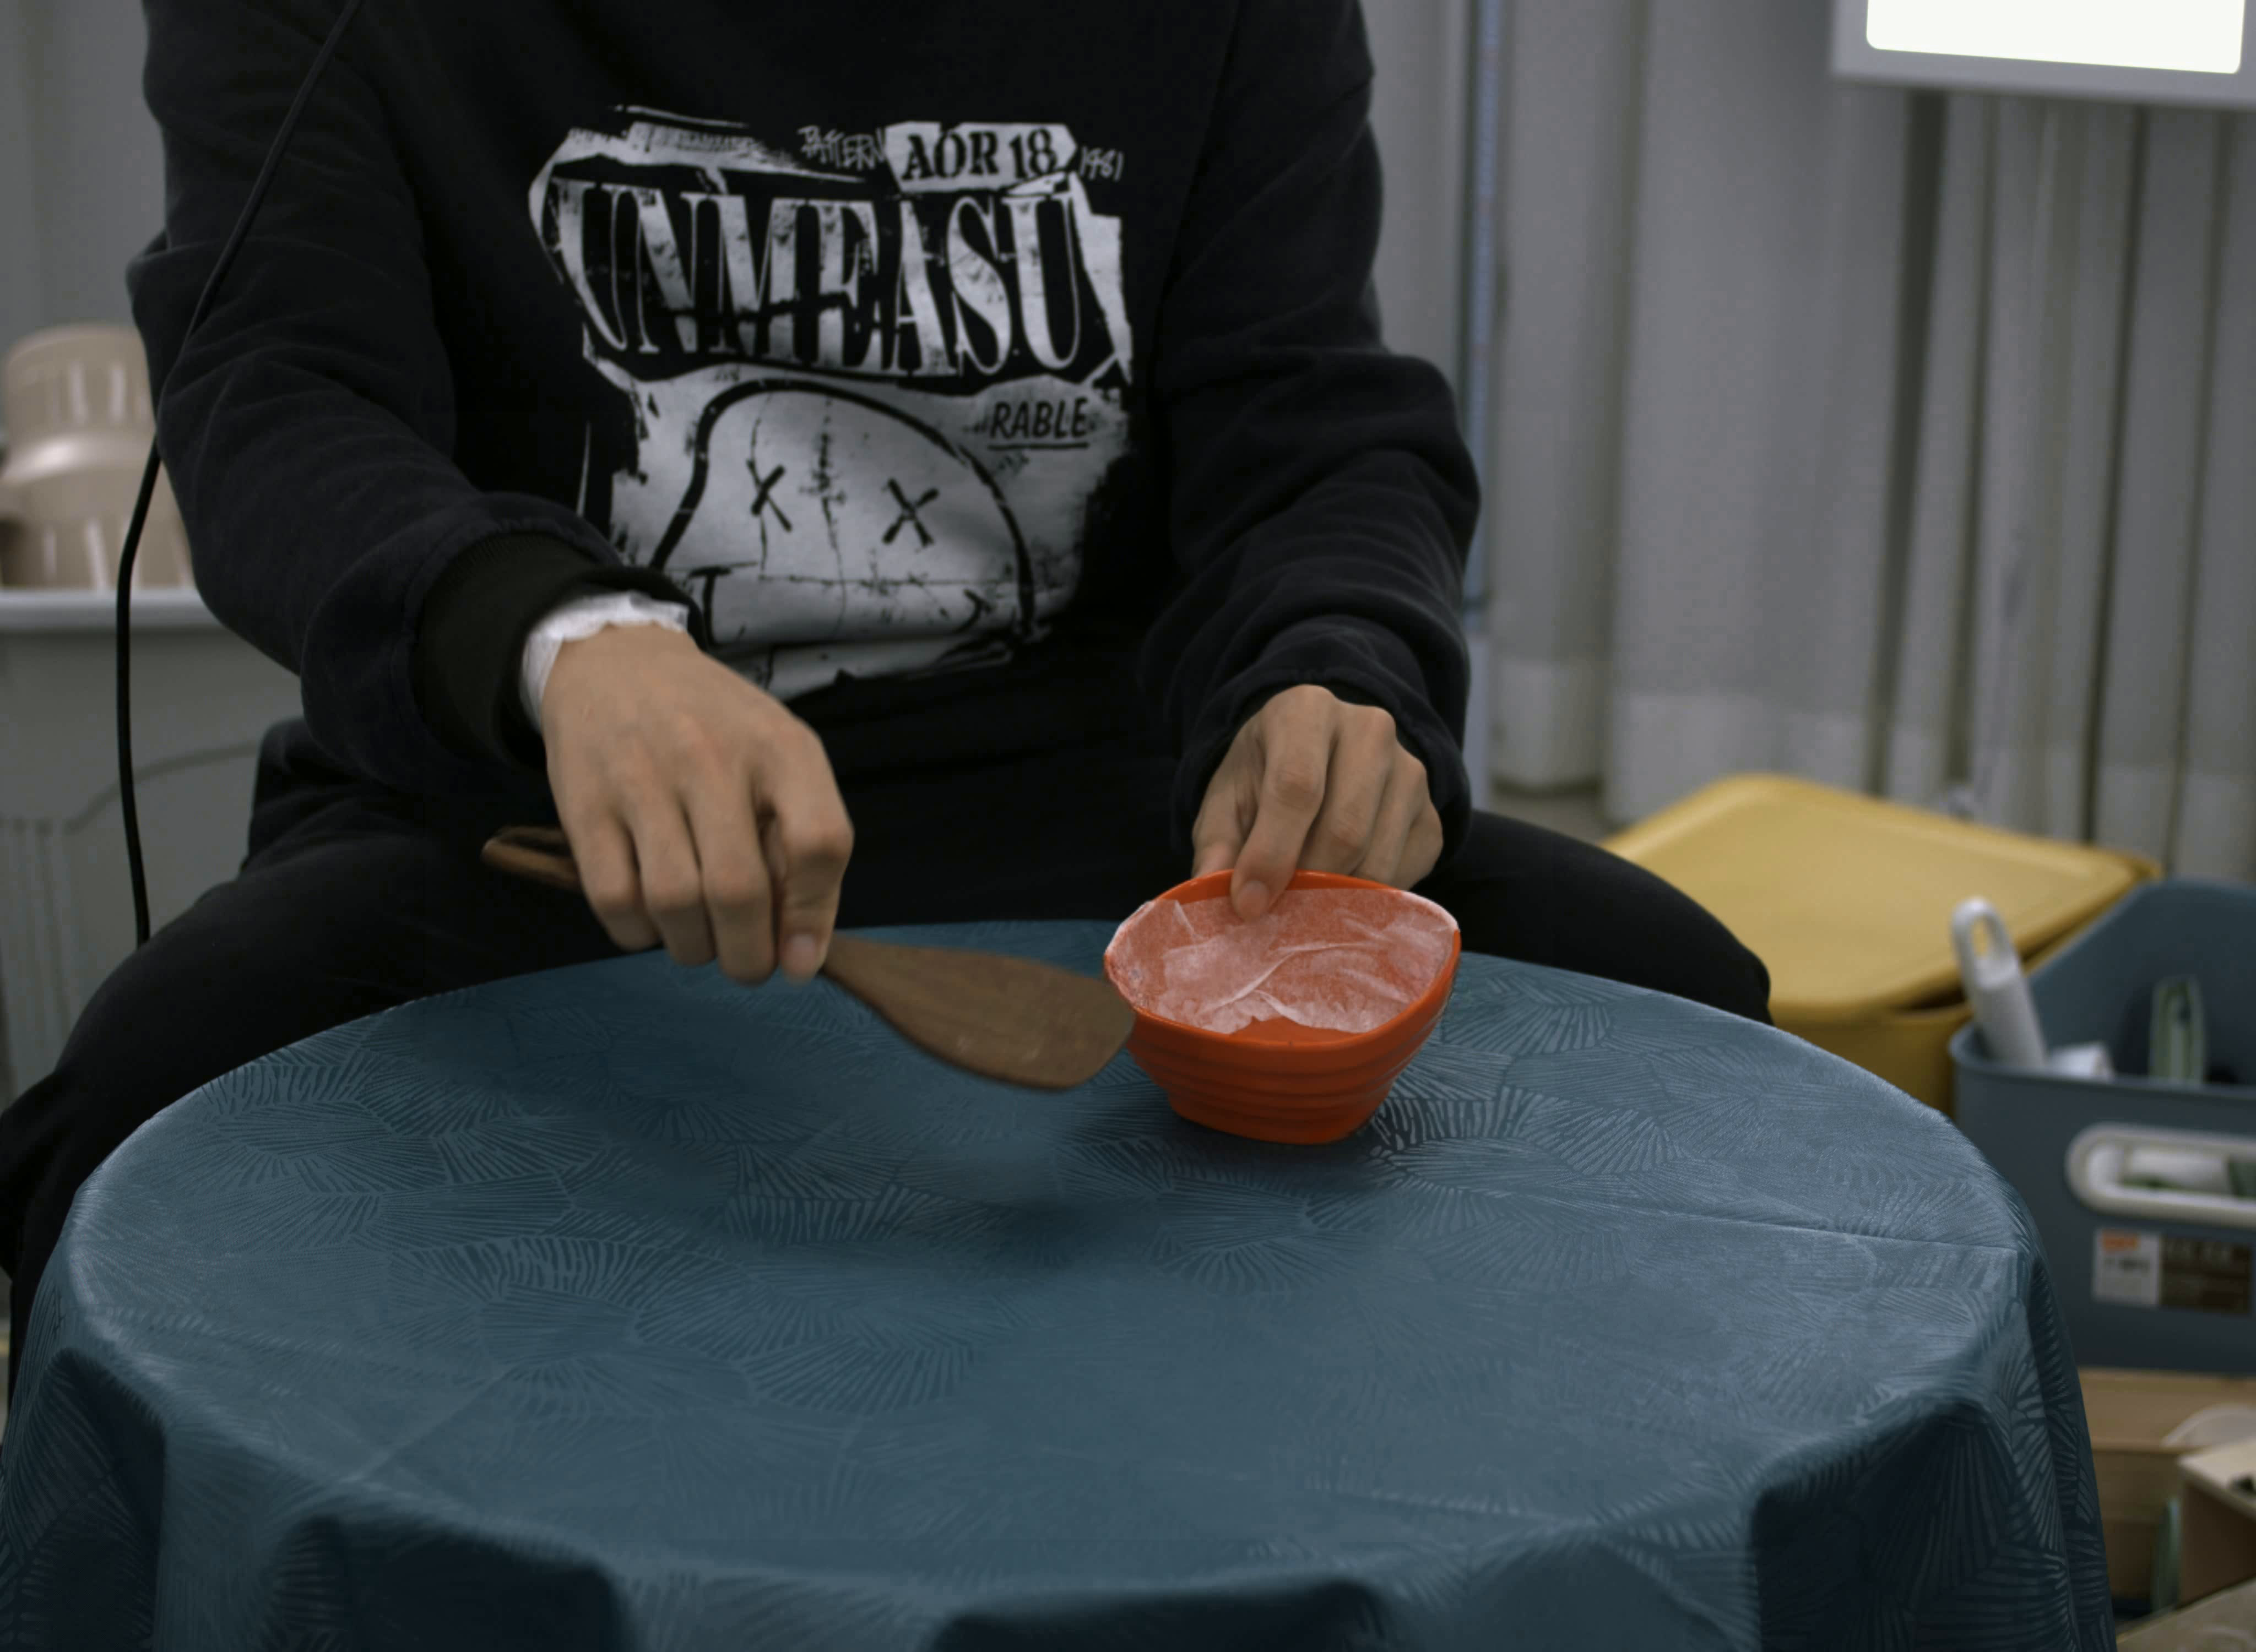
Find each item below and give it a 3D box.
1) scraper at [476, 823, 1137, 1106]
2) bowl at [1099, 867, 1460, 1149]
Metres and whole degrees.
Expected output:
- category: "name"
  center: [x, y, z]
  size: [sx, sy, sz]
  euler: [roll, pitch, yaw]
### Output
- category: "scraper"
  center: [-0.101, 0.039, 1.603]
  size: [0.210, 0.011, 0.076]
  euler: [20, 27, 11]
- category: "bowl"
  center: [0.049, 0.063, 1.689]
  size: [0.118, 0.052, 0.118]
  euler: [-1, 30, 1]
